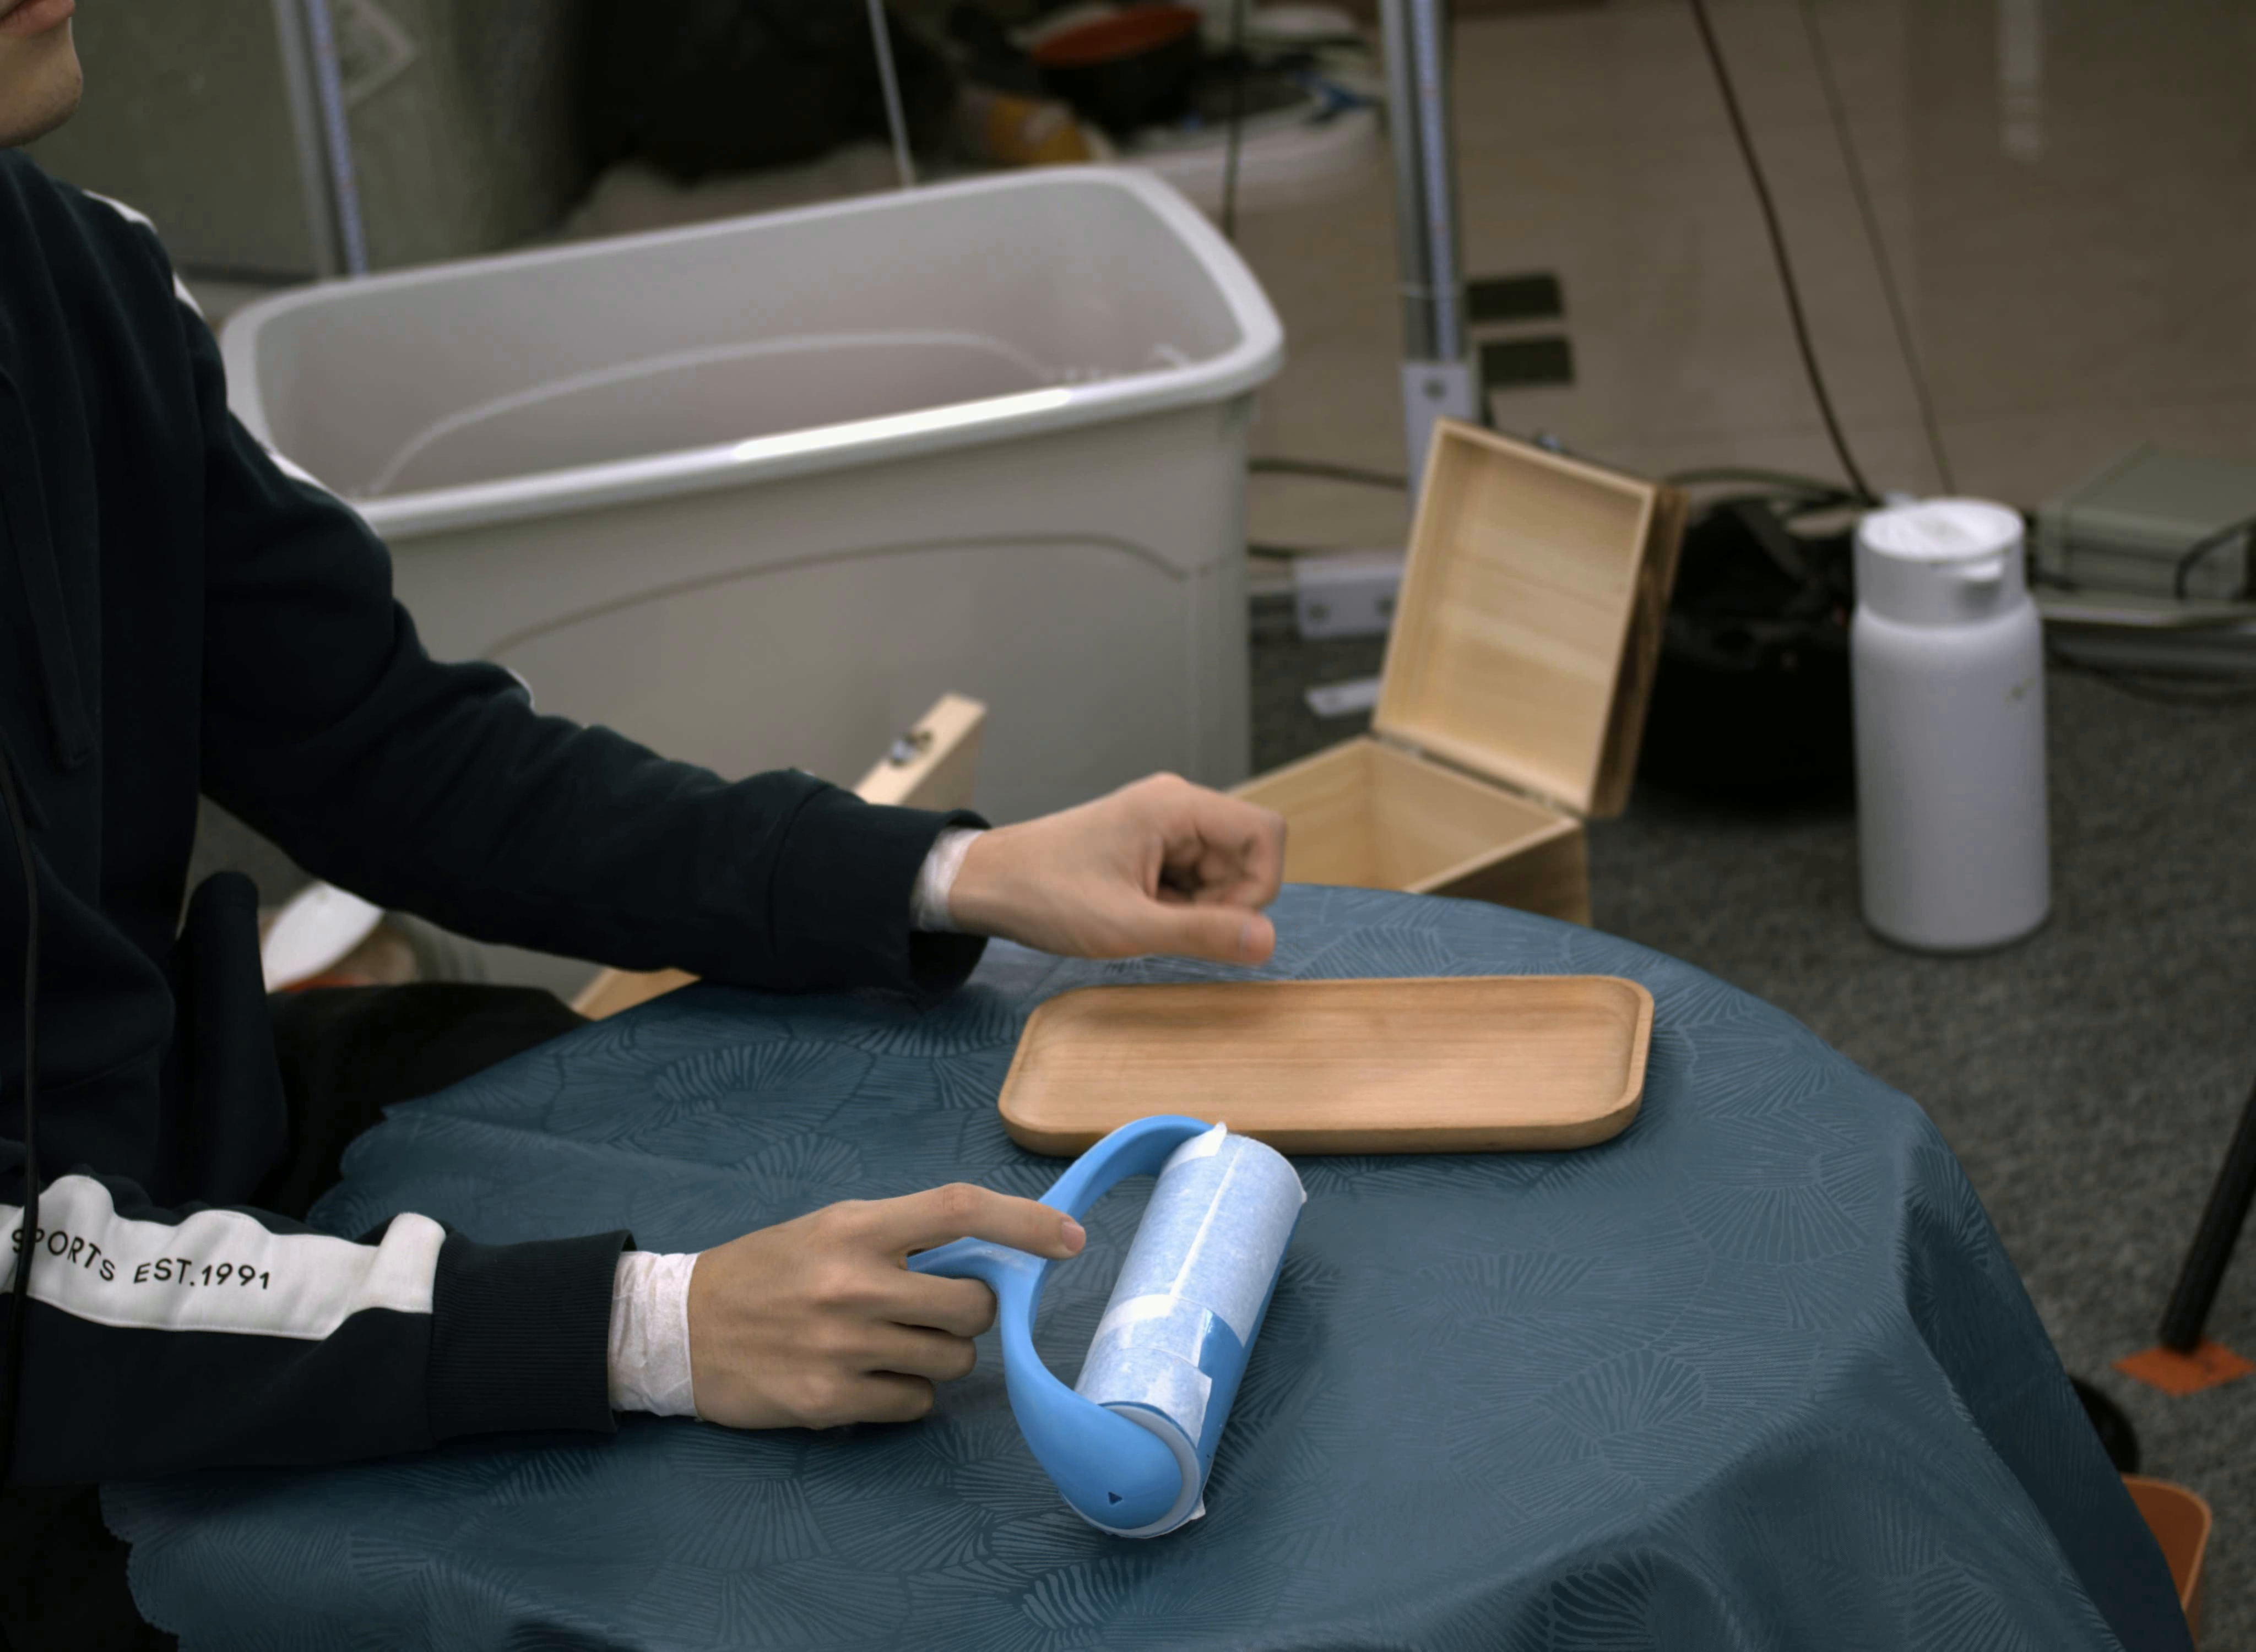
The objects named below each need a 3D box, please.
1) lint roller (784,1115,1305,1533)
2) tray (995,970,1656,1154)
[{"bbox_3d":[-0.038,0.175,2.007,0.180,0.069,0.225,-1,27,10],"label":"lint roller"},{"bbox_3d":[0.078,0.092,2.204,0.250,0.023,0.129,-1,23,12],"label":"tray"}]
